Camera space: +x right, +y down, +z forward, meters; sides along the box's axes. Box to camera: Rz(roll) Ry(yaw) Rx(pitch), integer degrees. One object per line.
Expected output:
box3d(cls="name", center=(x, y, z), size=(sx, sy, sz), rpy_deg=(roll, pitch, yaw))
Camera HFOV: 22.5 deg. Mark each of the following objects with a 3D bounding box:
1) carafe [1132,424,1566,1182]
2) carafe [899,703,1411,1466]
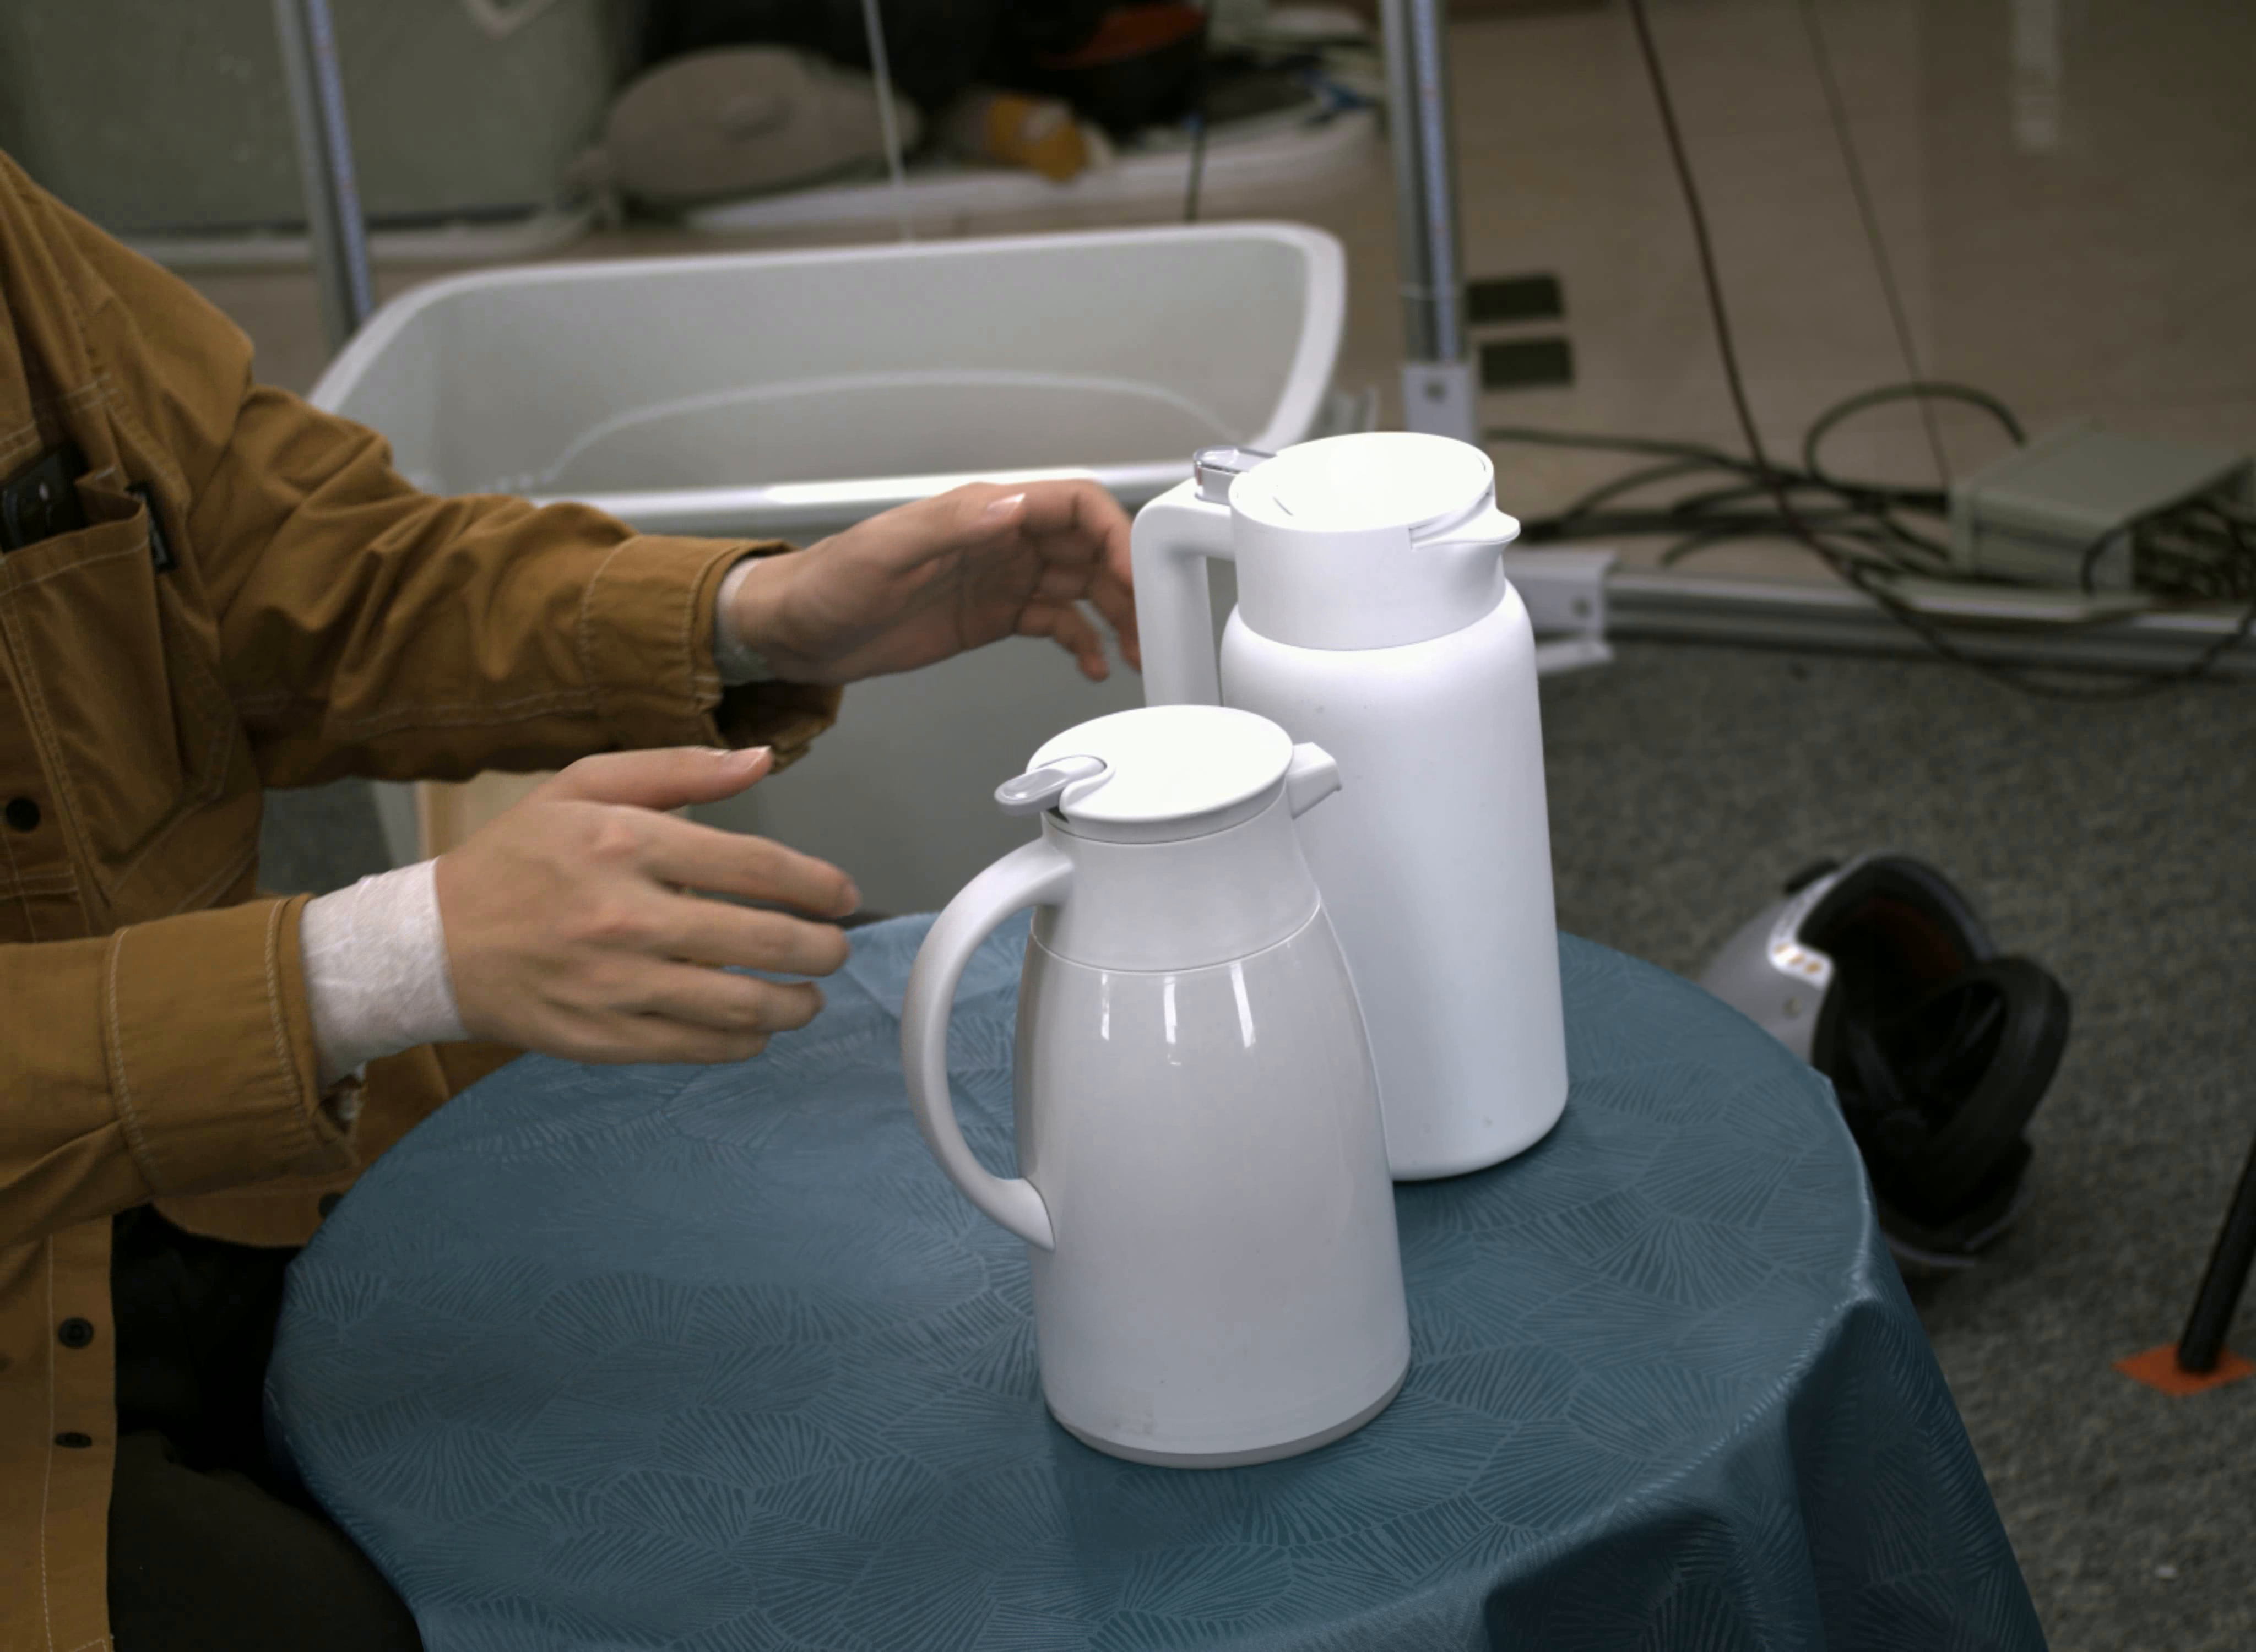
box3d(cls="carafe", center=(0.083, -0.010, 2.128), size=(0.172, 0.273, 0.122), rpy_deg=(14, 34, 36))
box3d(cls="carafe", center=(0.005, 0.088, 1.959), size=(0.167, 0.252, 0.131), rpy_deg=(-17, 27, -19))
